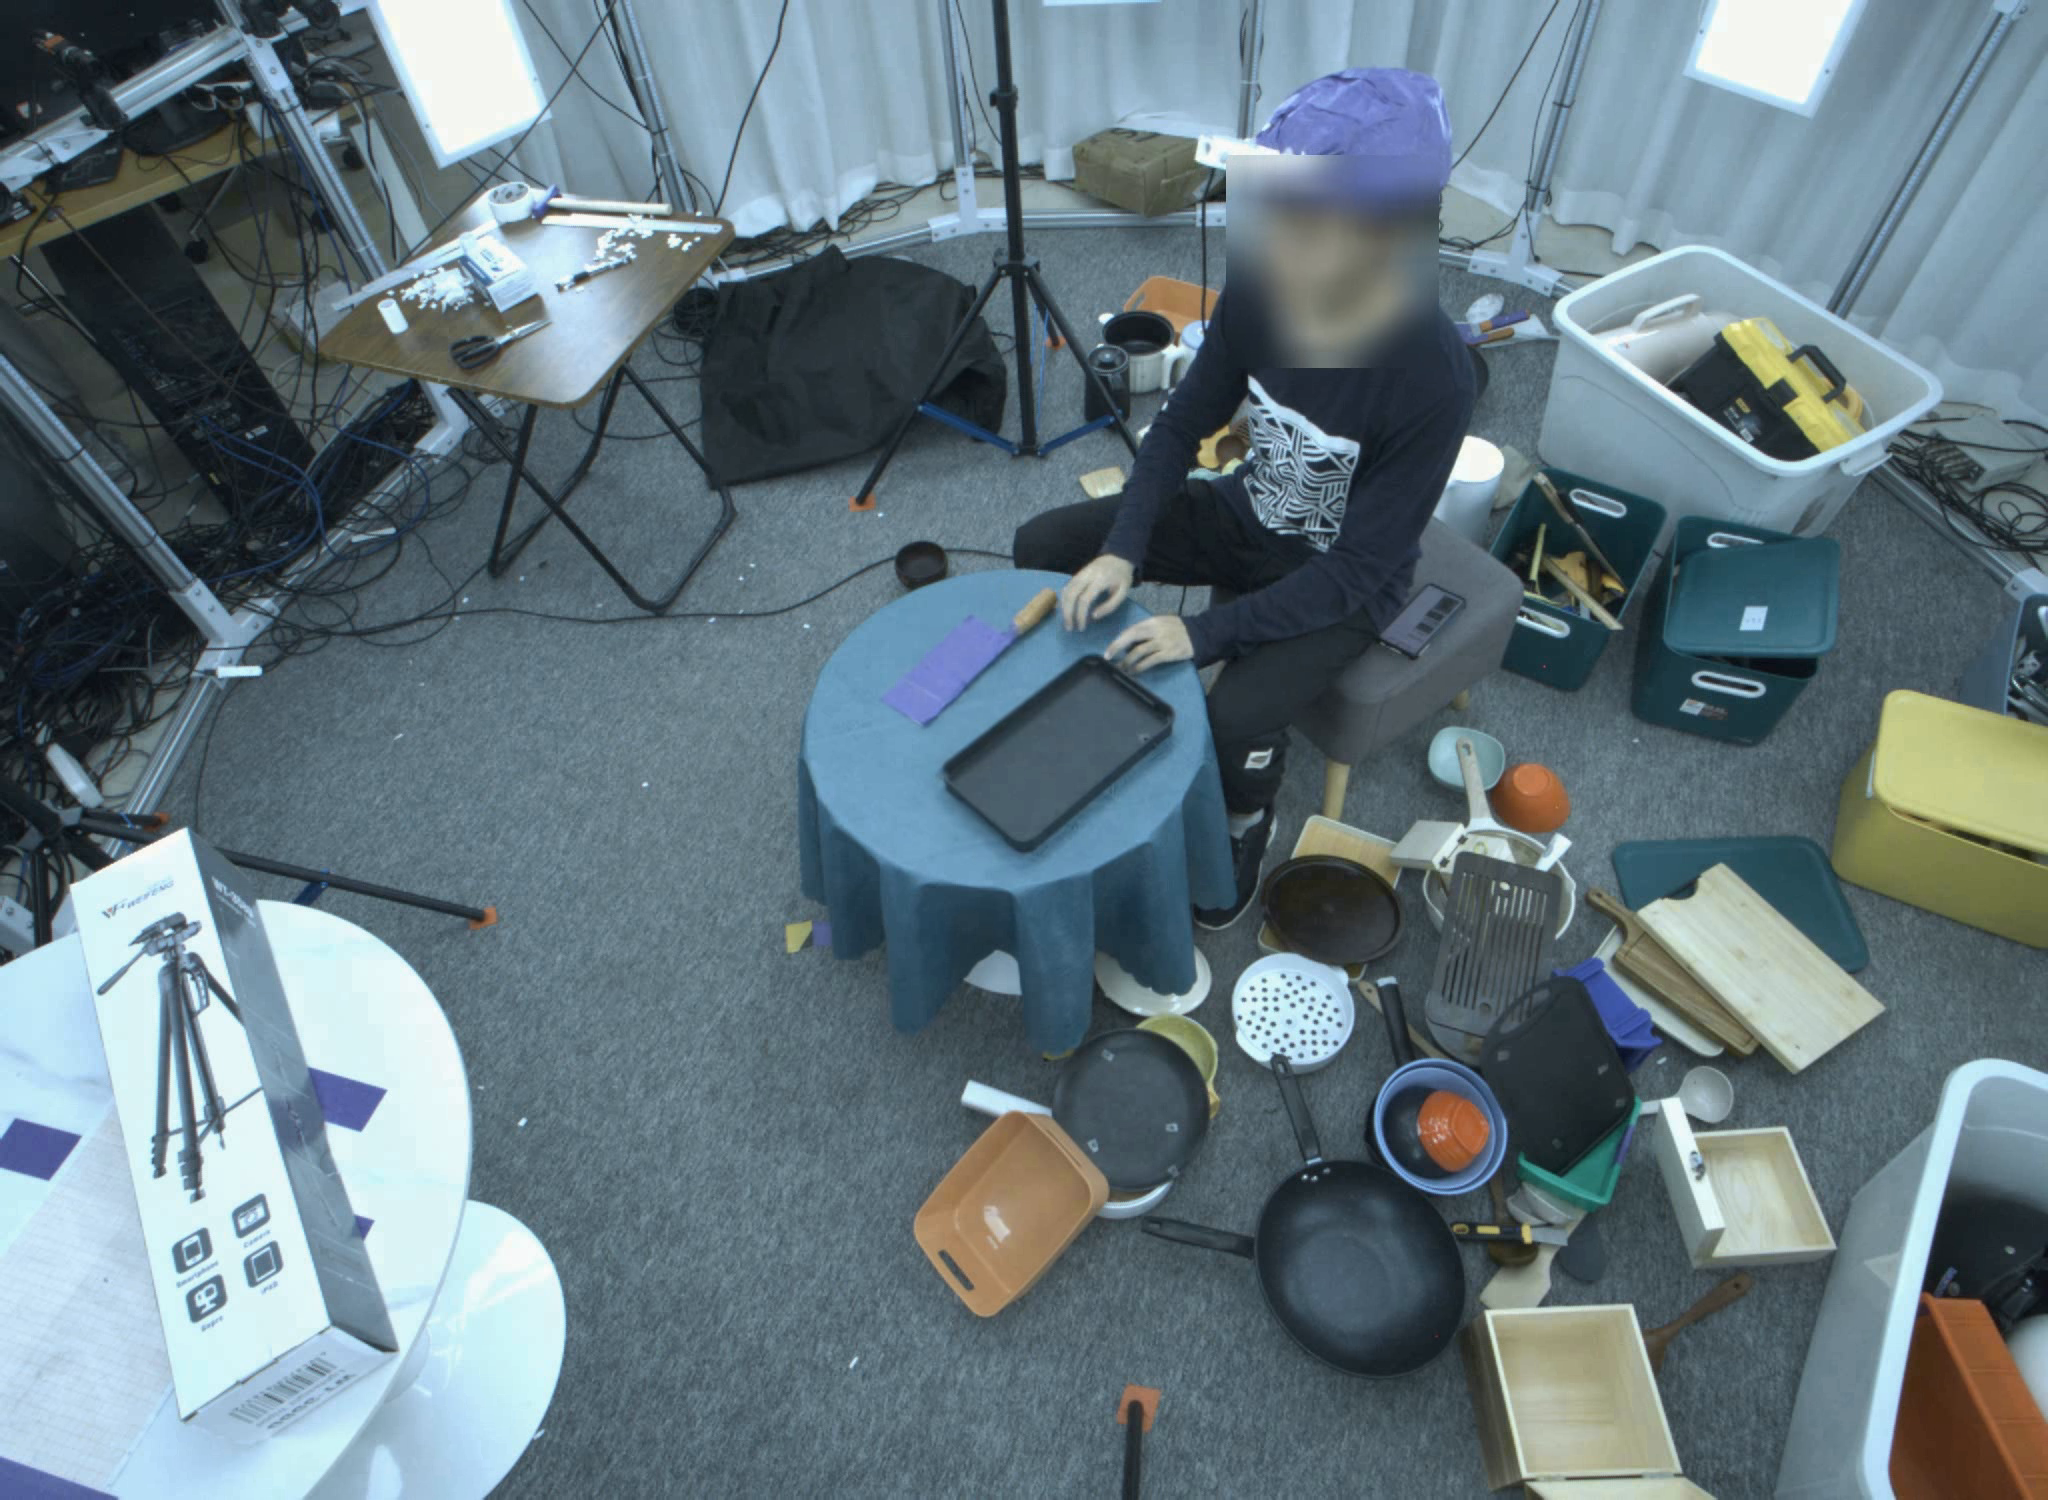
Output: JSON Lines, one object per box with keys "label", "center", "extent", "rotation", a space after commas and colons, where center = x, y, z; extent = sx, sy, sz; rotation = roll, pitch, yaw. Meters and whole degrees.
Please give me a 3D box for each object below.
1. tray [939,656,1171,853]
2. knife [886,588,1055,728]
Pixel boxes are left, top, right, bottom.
{"label": "tray", "center": [0.047, 0.001, 1.773], "extent": [0.181, 0.037, 0.320], "rotation": [38, 62, 25]}
{"label": "knife", "center": [-0.084, -0.160, 1.895], "extent": [0.102, 0.032, 0.317], "rotation": [33, 62, 22]}
